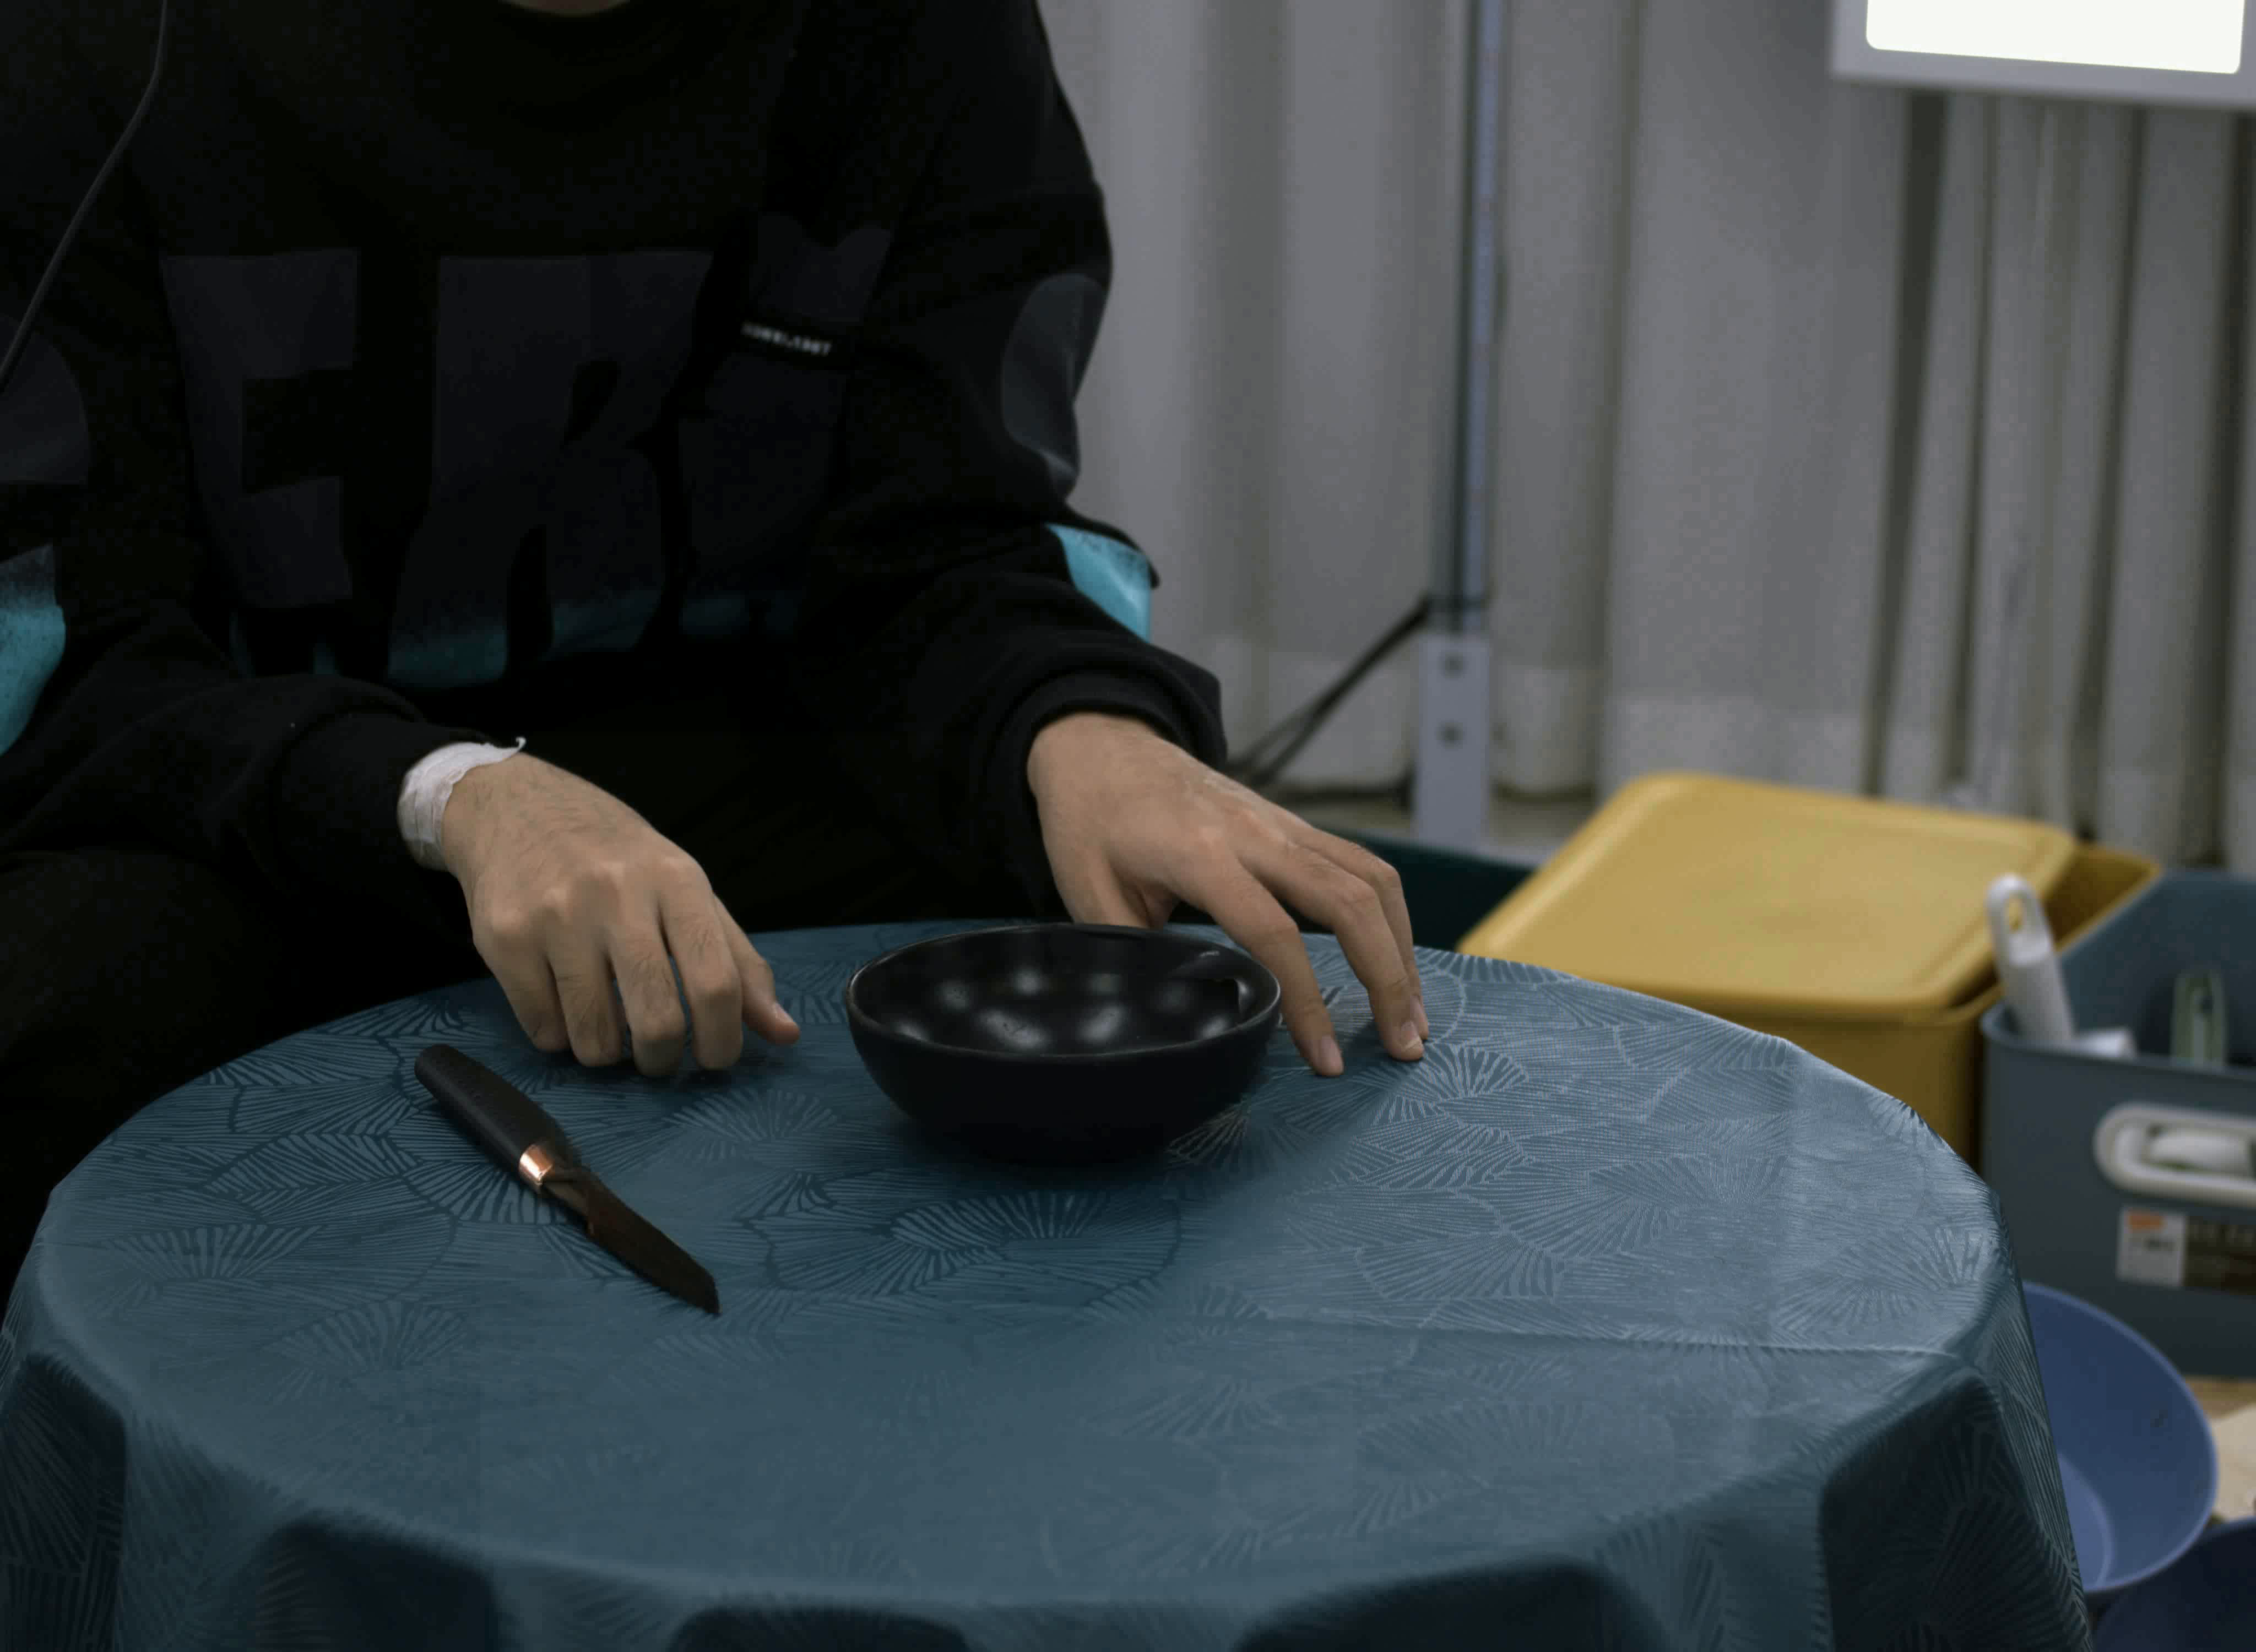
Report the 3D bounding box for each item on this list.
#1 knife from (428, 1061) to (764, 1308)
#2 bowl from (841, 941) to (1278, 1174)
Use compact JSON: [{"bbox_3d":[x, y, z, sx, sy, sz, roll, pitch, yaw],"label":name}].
[{"bbox_3d":[-0.165,0.109,1.607,0.026,0.017,0.222,-5,18,-29],"label":"knife"},{"bbox_3d":[-0.020,0.077,1.668,0.139,0.050,0.139,-3,13,1],"label":"bowl"}]
